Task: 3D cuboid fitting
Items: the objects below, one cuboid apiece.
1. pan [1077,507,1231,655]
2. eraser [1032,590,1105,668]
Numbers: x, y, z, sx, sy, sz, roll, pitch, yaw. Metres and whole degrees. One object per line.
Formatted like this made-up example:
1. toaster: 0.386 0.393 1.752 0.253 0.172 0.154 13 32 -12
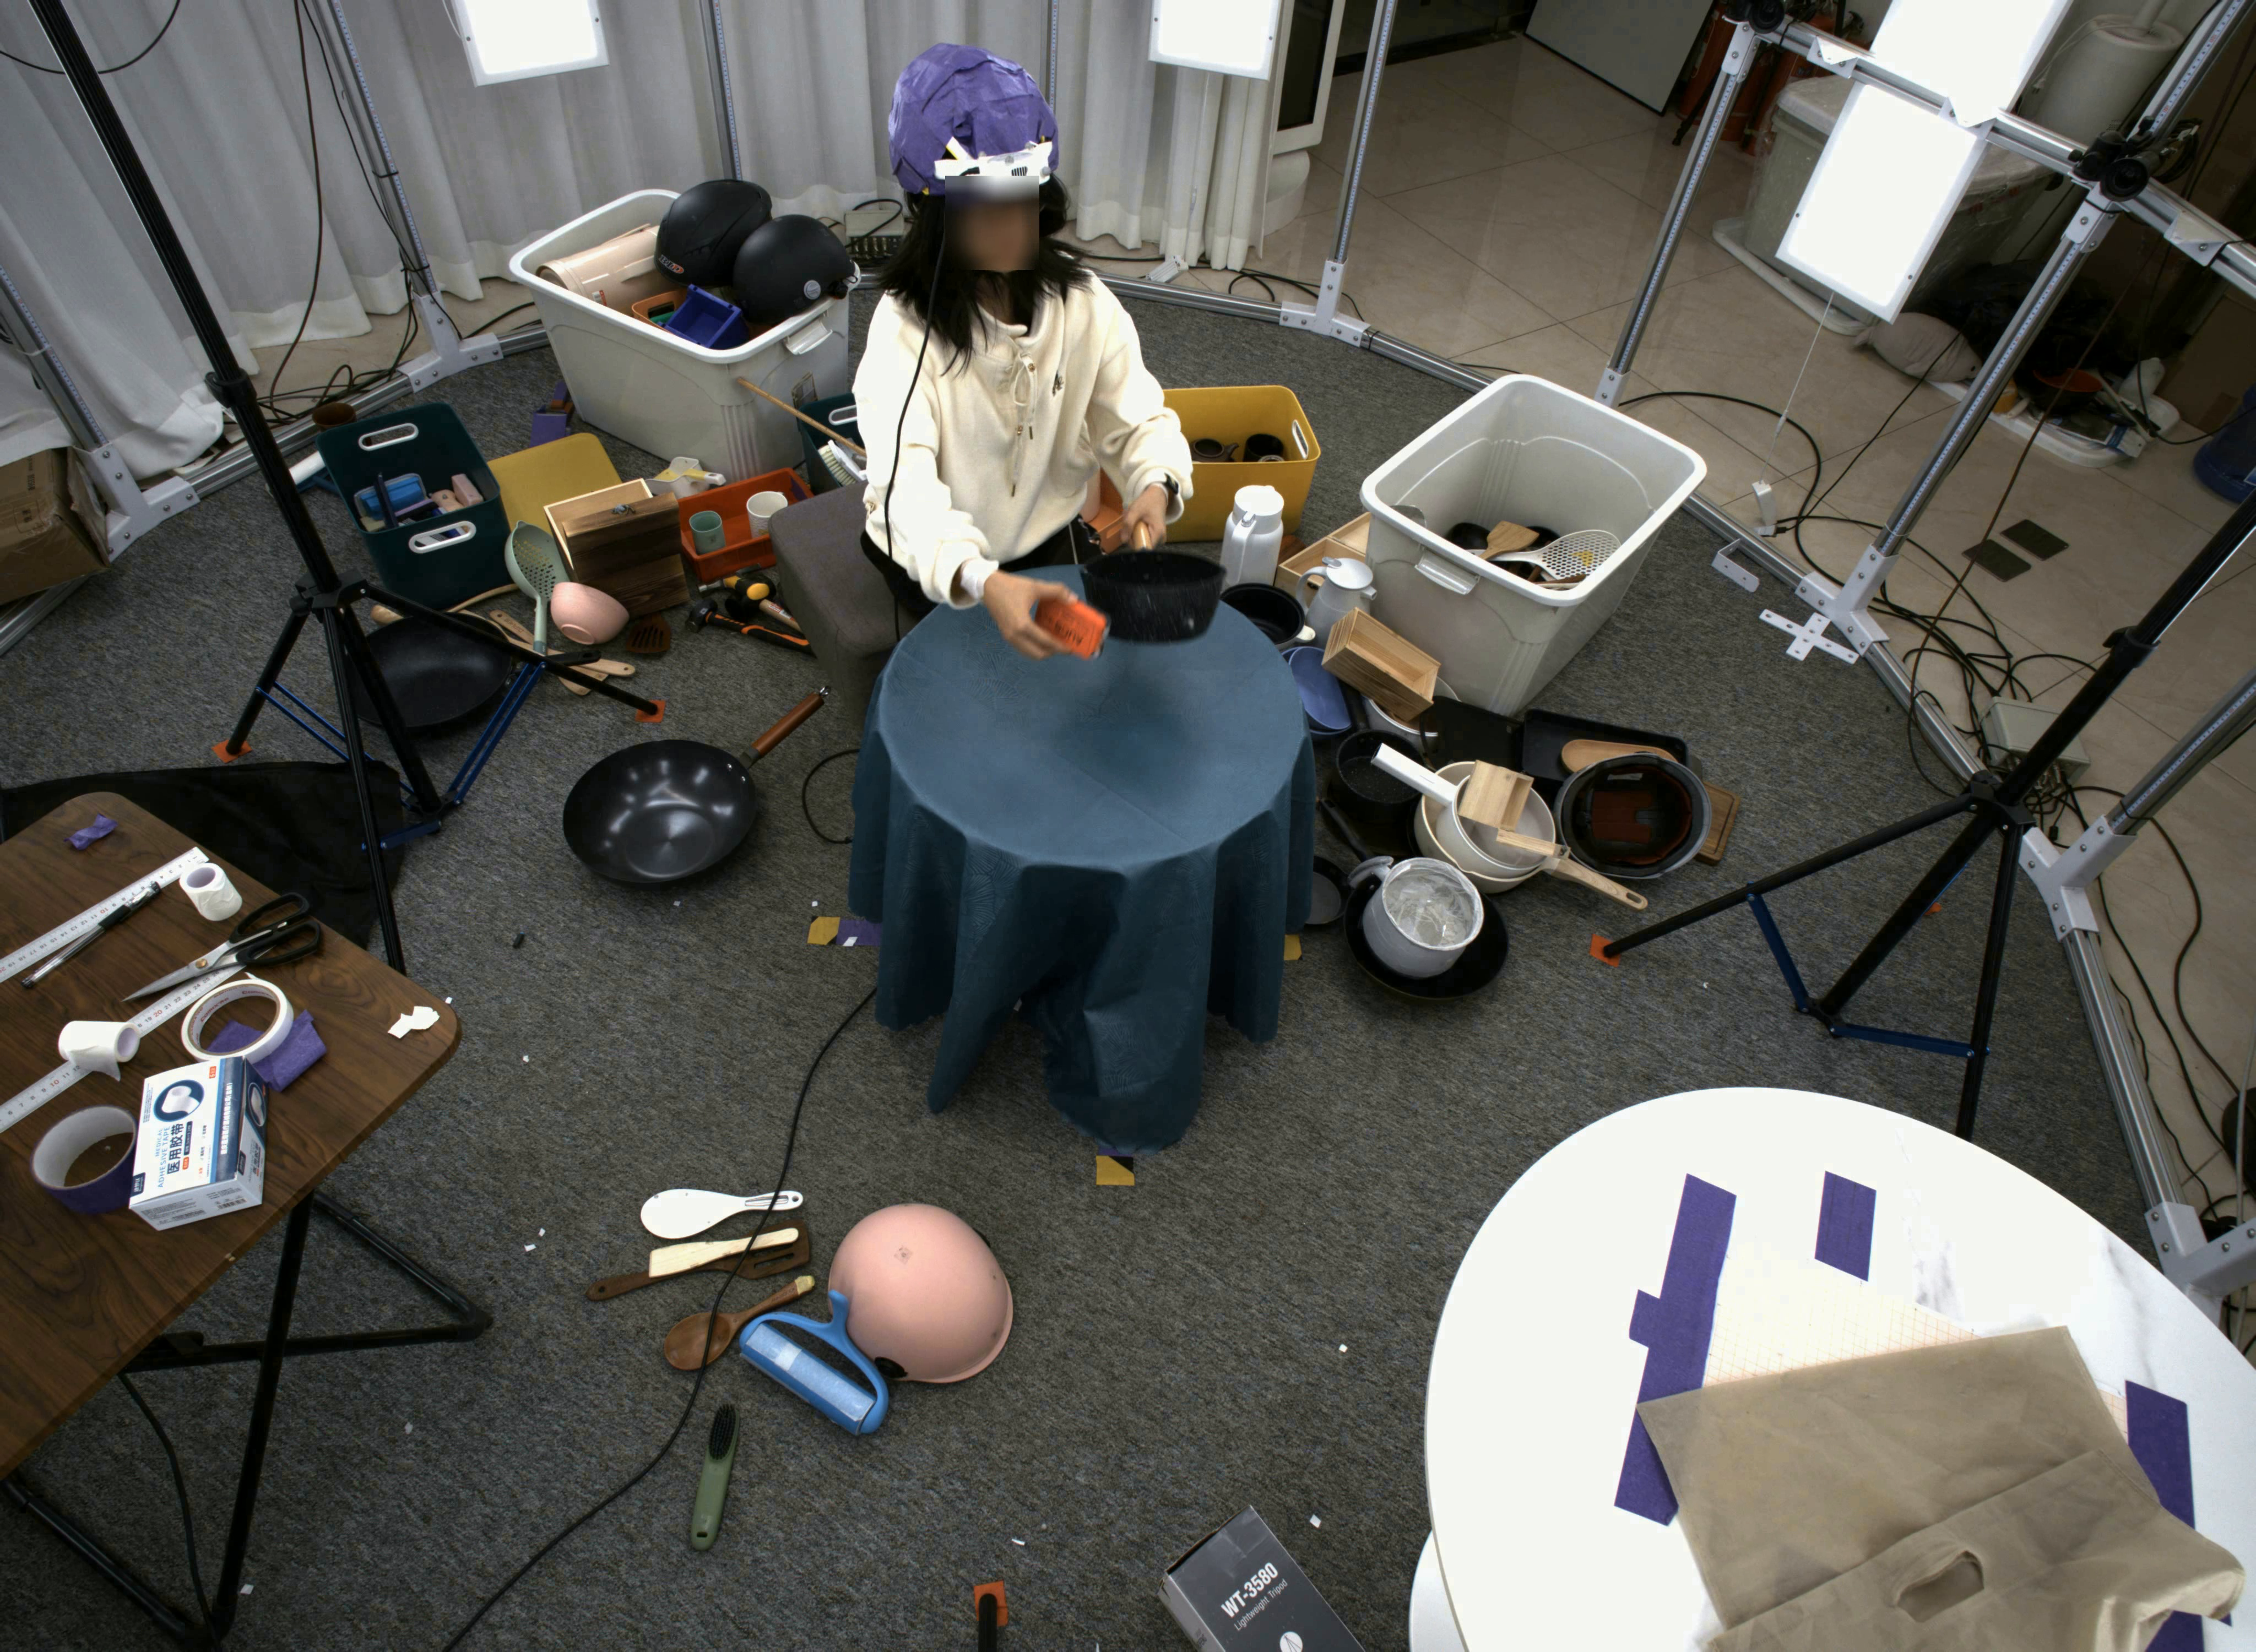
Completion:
1. pan: 0.026 -0.347 1.801 0.207 0.106 0.350 -2 29 -6
2. eraser: -0.076 -0.250 1.631 0.023 0.058 0.110 -18 47 -42
